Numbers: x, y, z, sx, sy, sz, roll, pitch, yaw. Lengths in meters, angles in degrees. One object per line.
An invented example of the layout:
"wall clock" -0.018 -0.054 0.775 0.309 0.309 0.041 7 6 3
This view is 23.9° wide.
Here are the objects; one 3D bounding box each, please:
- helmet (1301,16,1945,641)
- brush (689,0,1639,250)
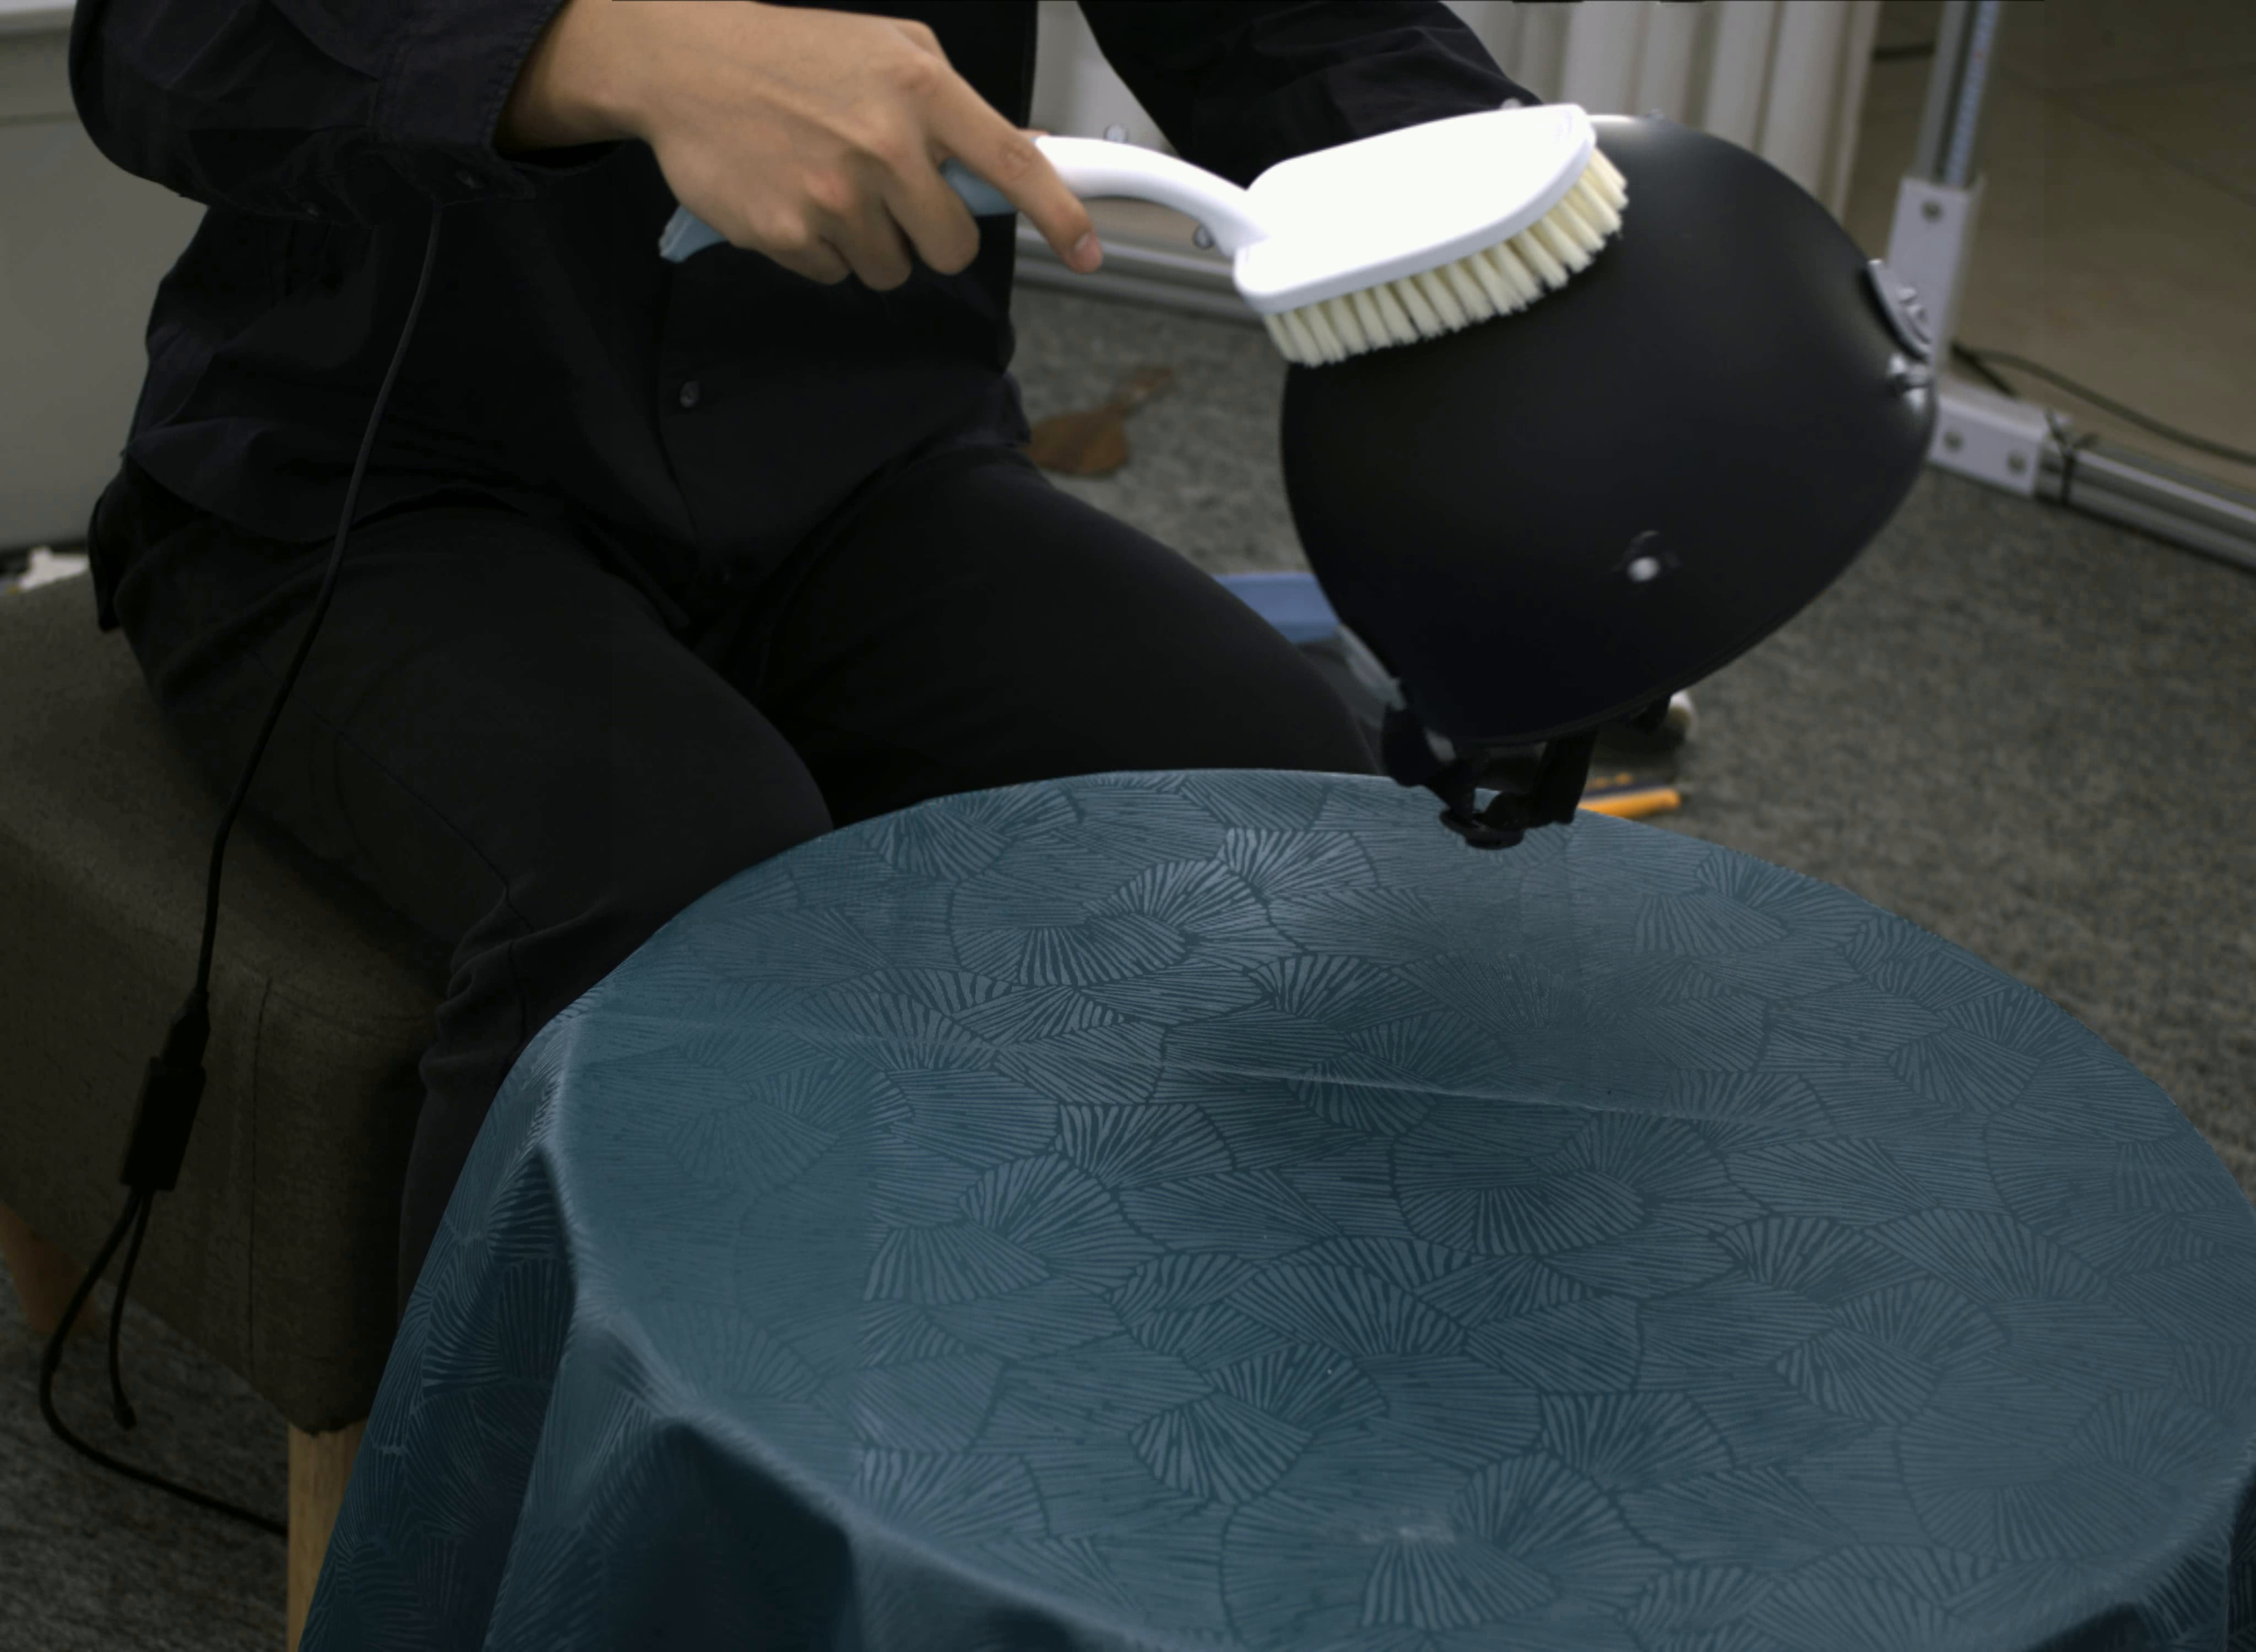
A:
"helmet" 0.158 -0.190 1.867 0.230 0.166 0.274 -35 16 10
"brush" 0.013 -0.234 1.812 0.325 0.084 0.083 -4 10 13
